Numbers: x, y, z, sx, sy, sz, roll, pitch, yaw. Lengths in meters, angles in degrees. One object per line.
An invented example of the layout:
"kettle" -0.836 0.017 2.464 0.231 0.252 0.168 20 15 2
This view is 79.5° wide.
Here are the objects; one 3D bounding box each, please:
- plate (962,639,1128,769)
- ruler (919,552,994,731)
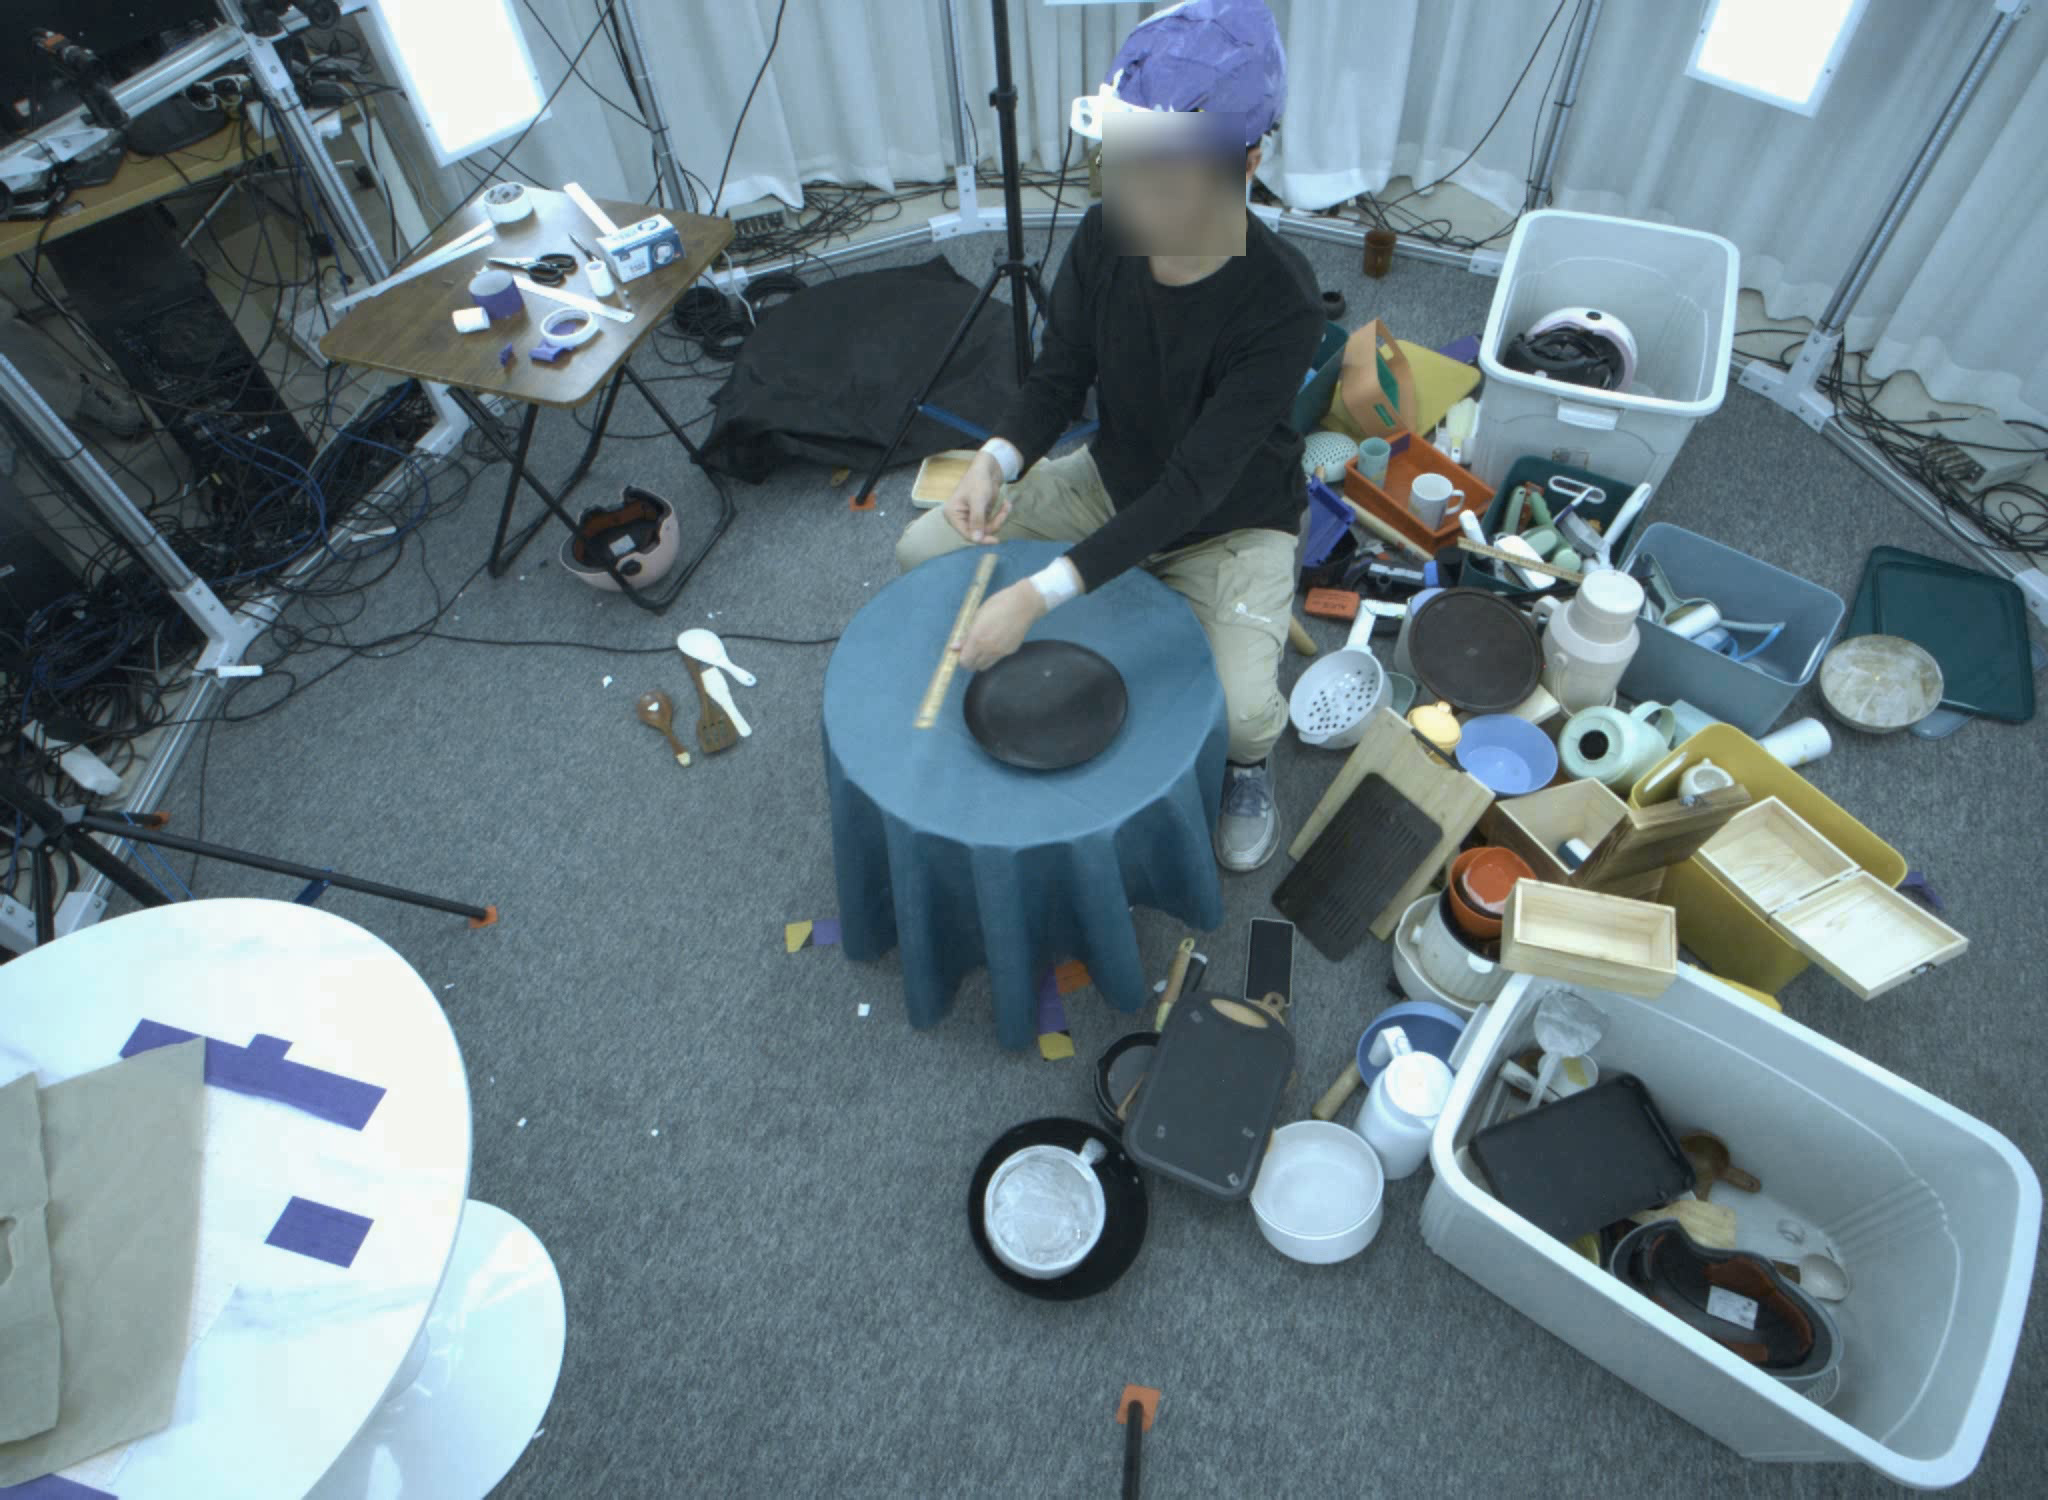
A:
"plate" 0.031 -0.066 1.819 0.244 0.024 0.242 0 55 2
"ruler" -0.092 -0.174 1.793 0.026 0.006 0.497 1 37 9
